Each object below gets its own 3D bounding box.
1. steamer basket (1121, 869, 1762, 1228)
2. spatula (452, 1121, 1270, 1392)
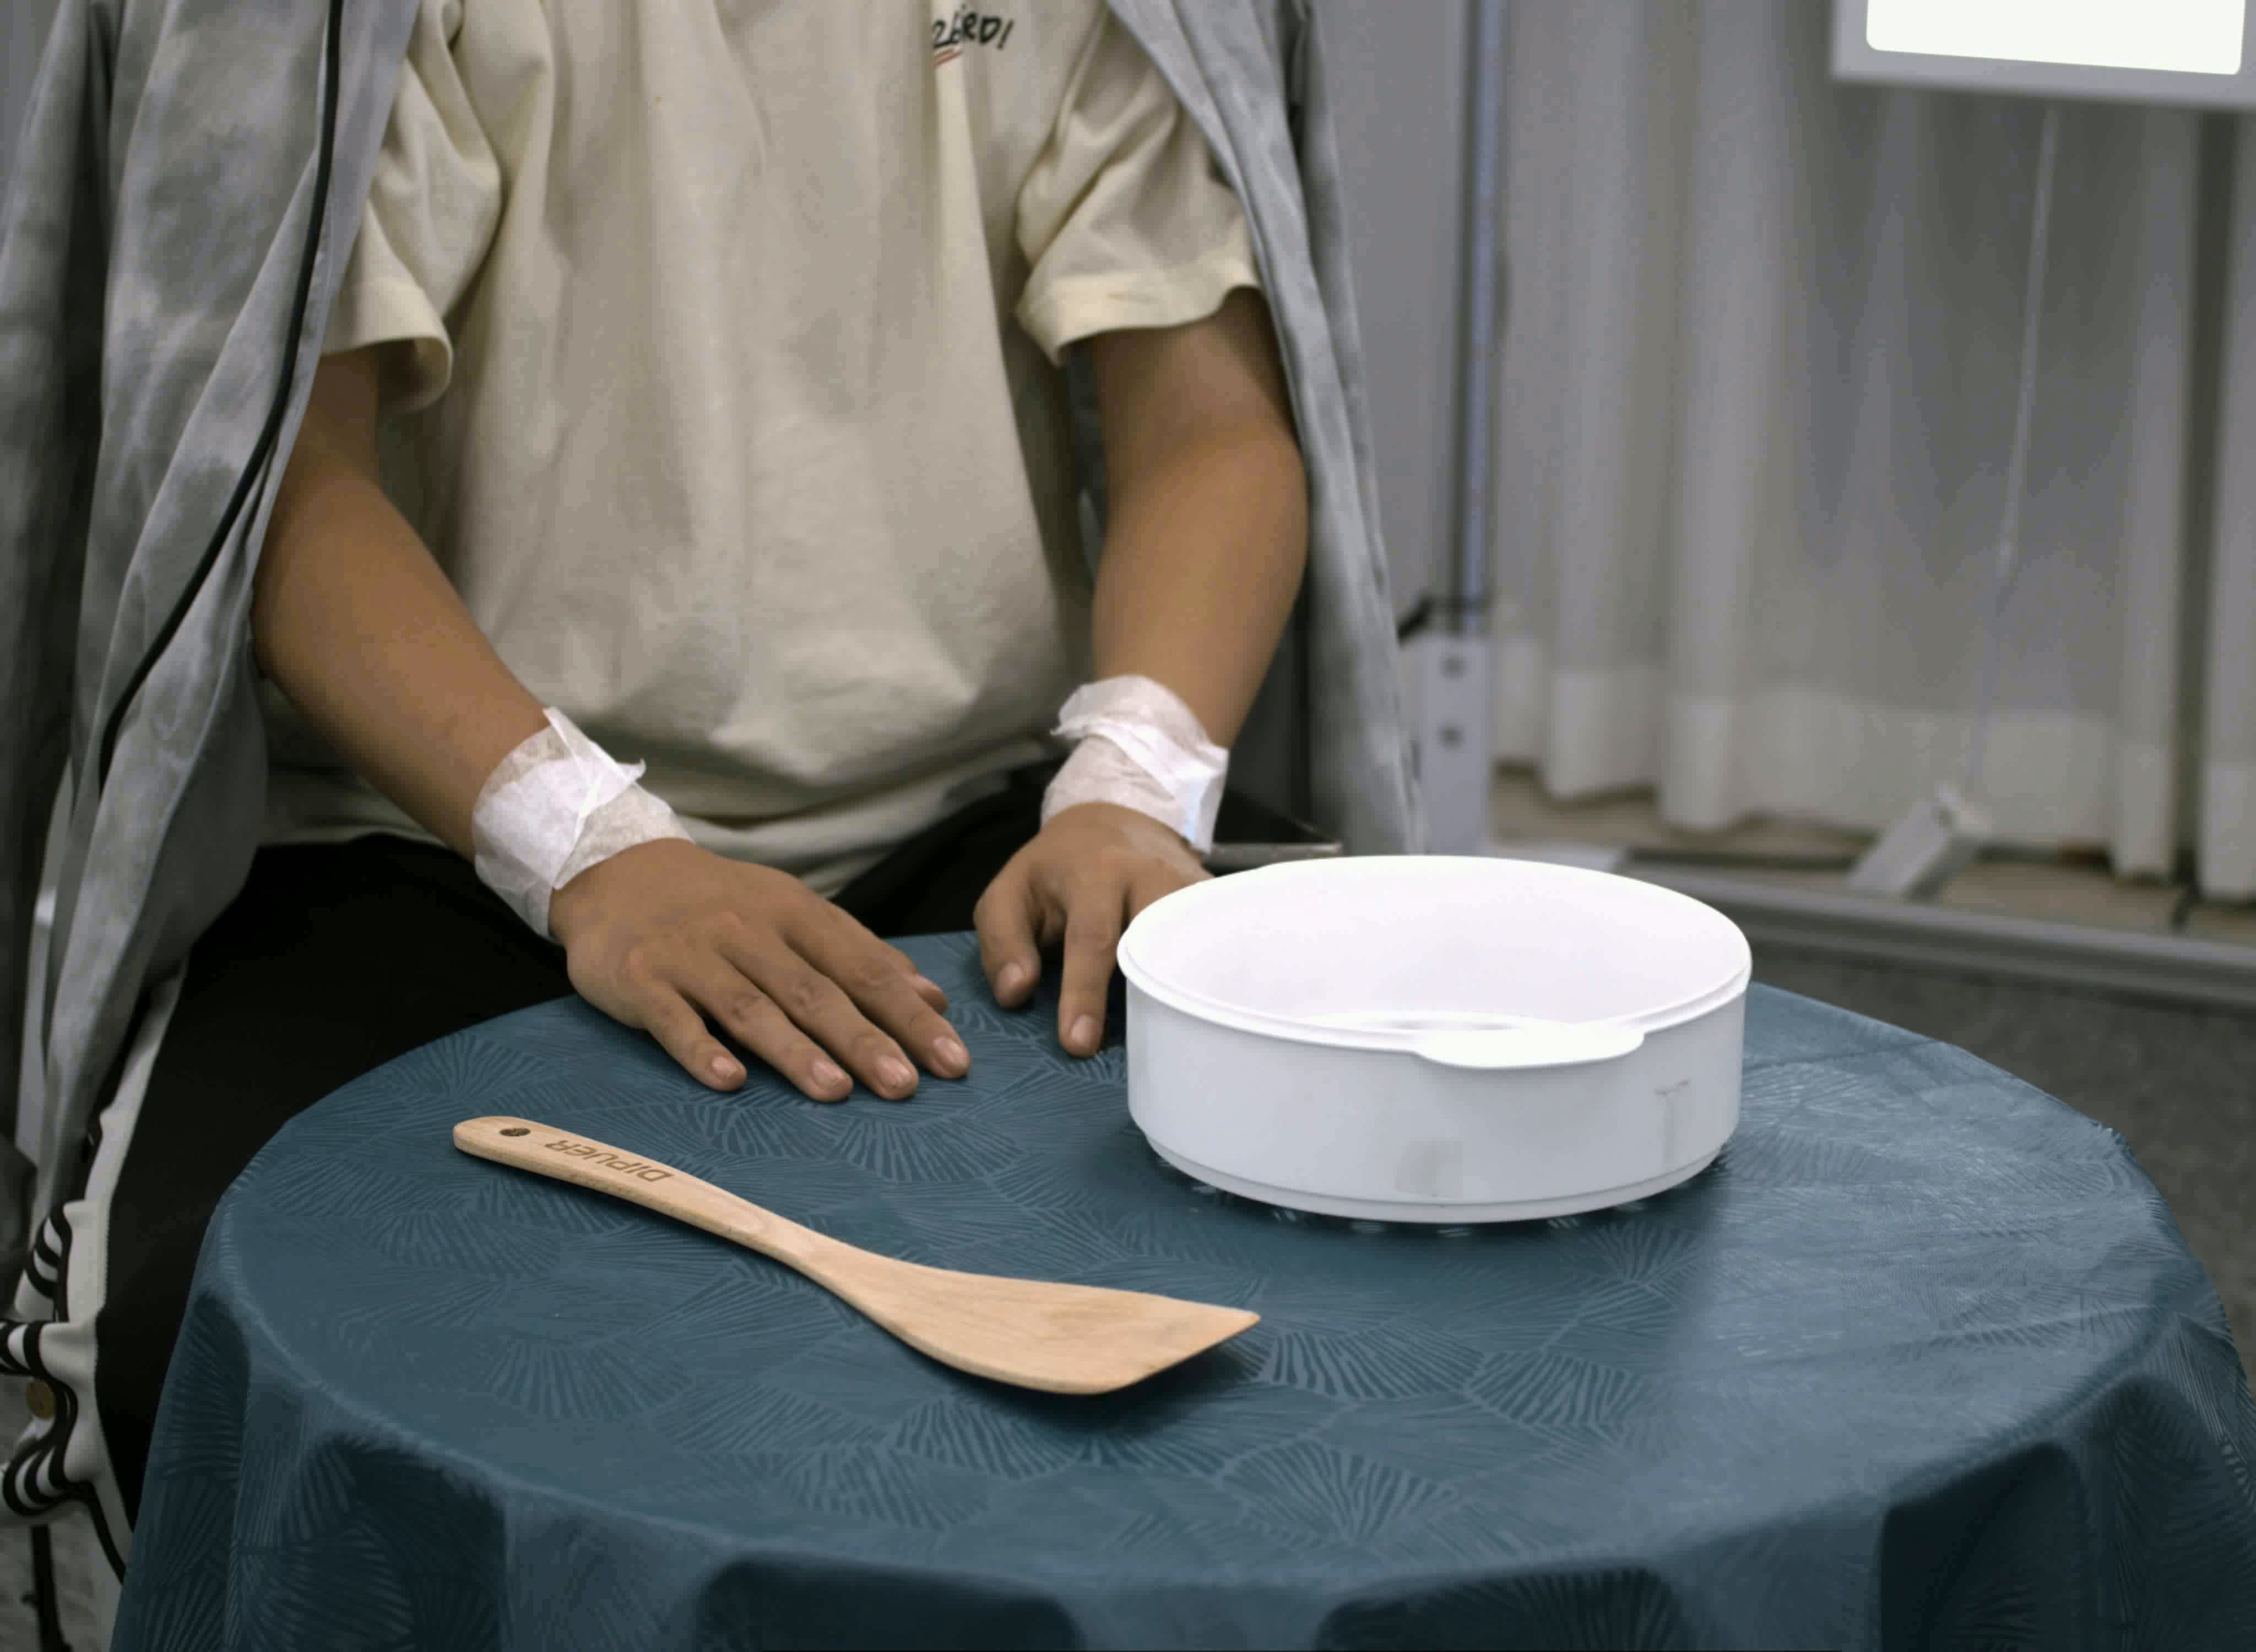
[{"bbox_3d":[0.098,0.070,1.661,0.202,0.070,0.228,-2,15,-14],"label":"steamer basket"},{"bbox_3d":[-0.091,0.122,1.555,0.323,0.016,0.080,14,20,42],"label":"spatula"}]
